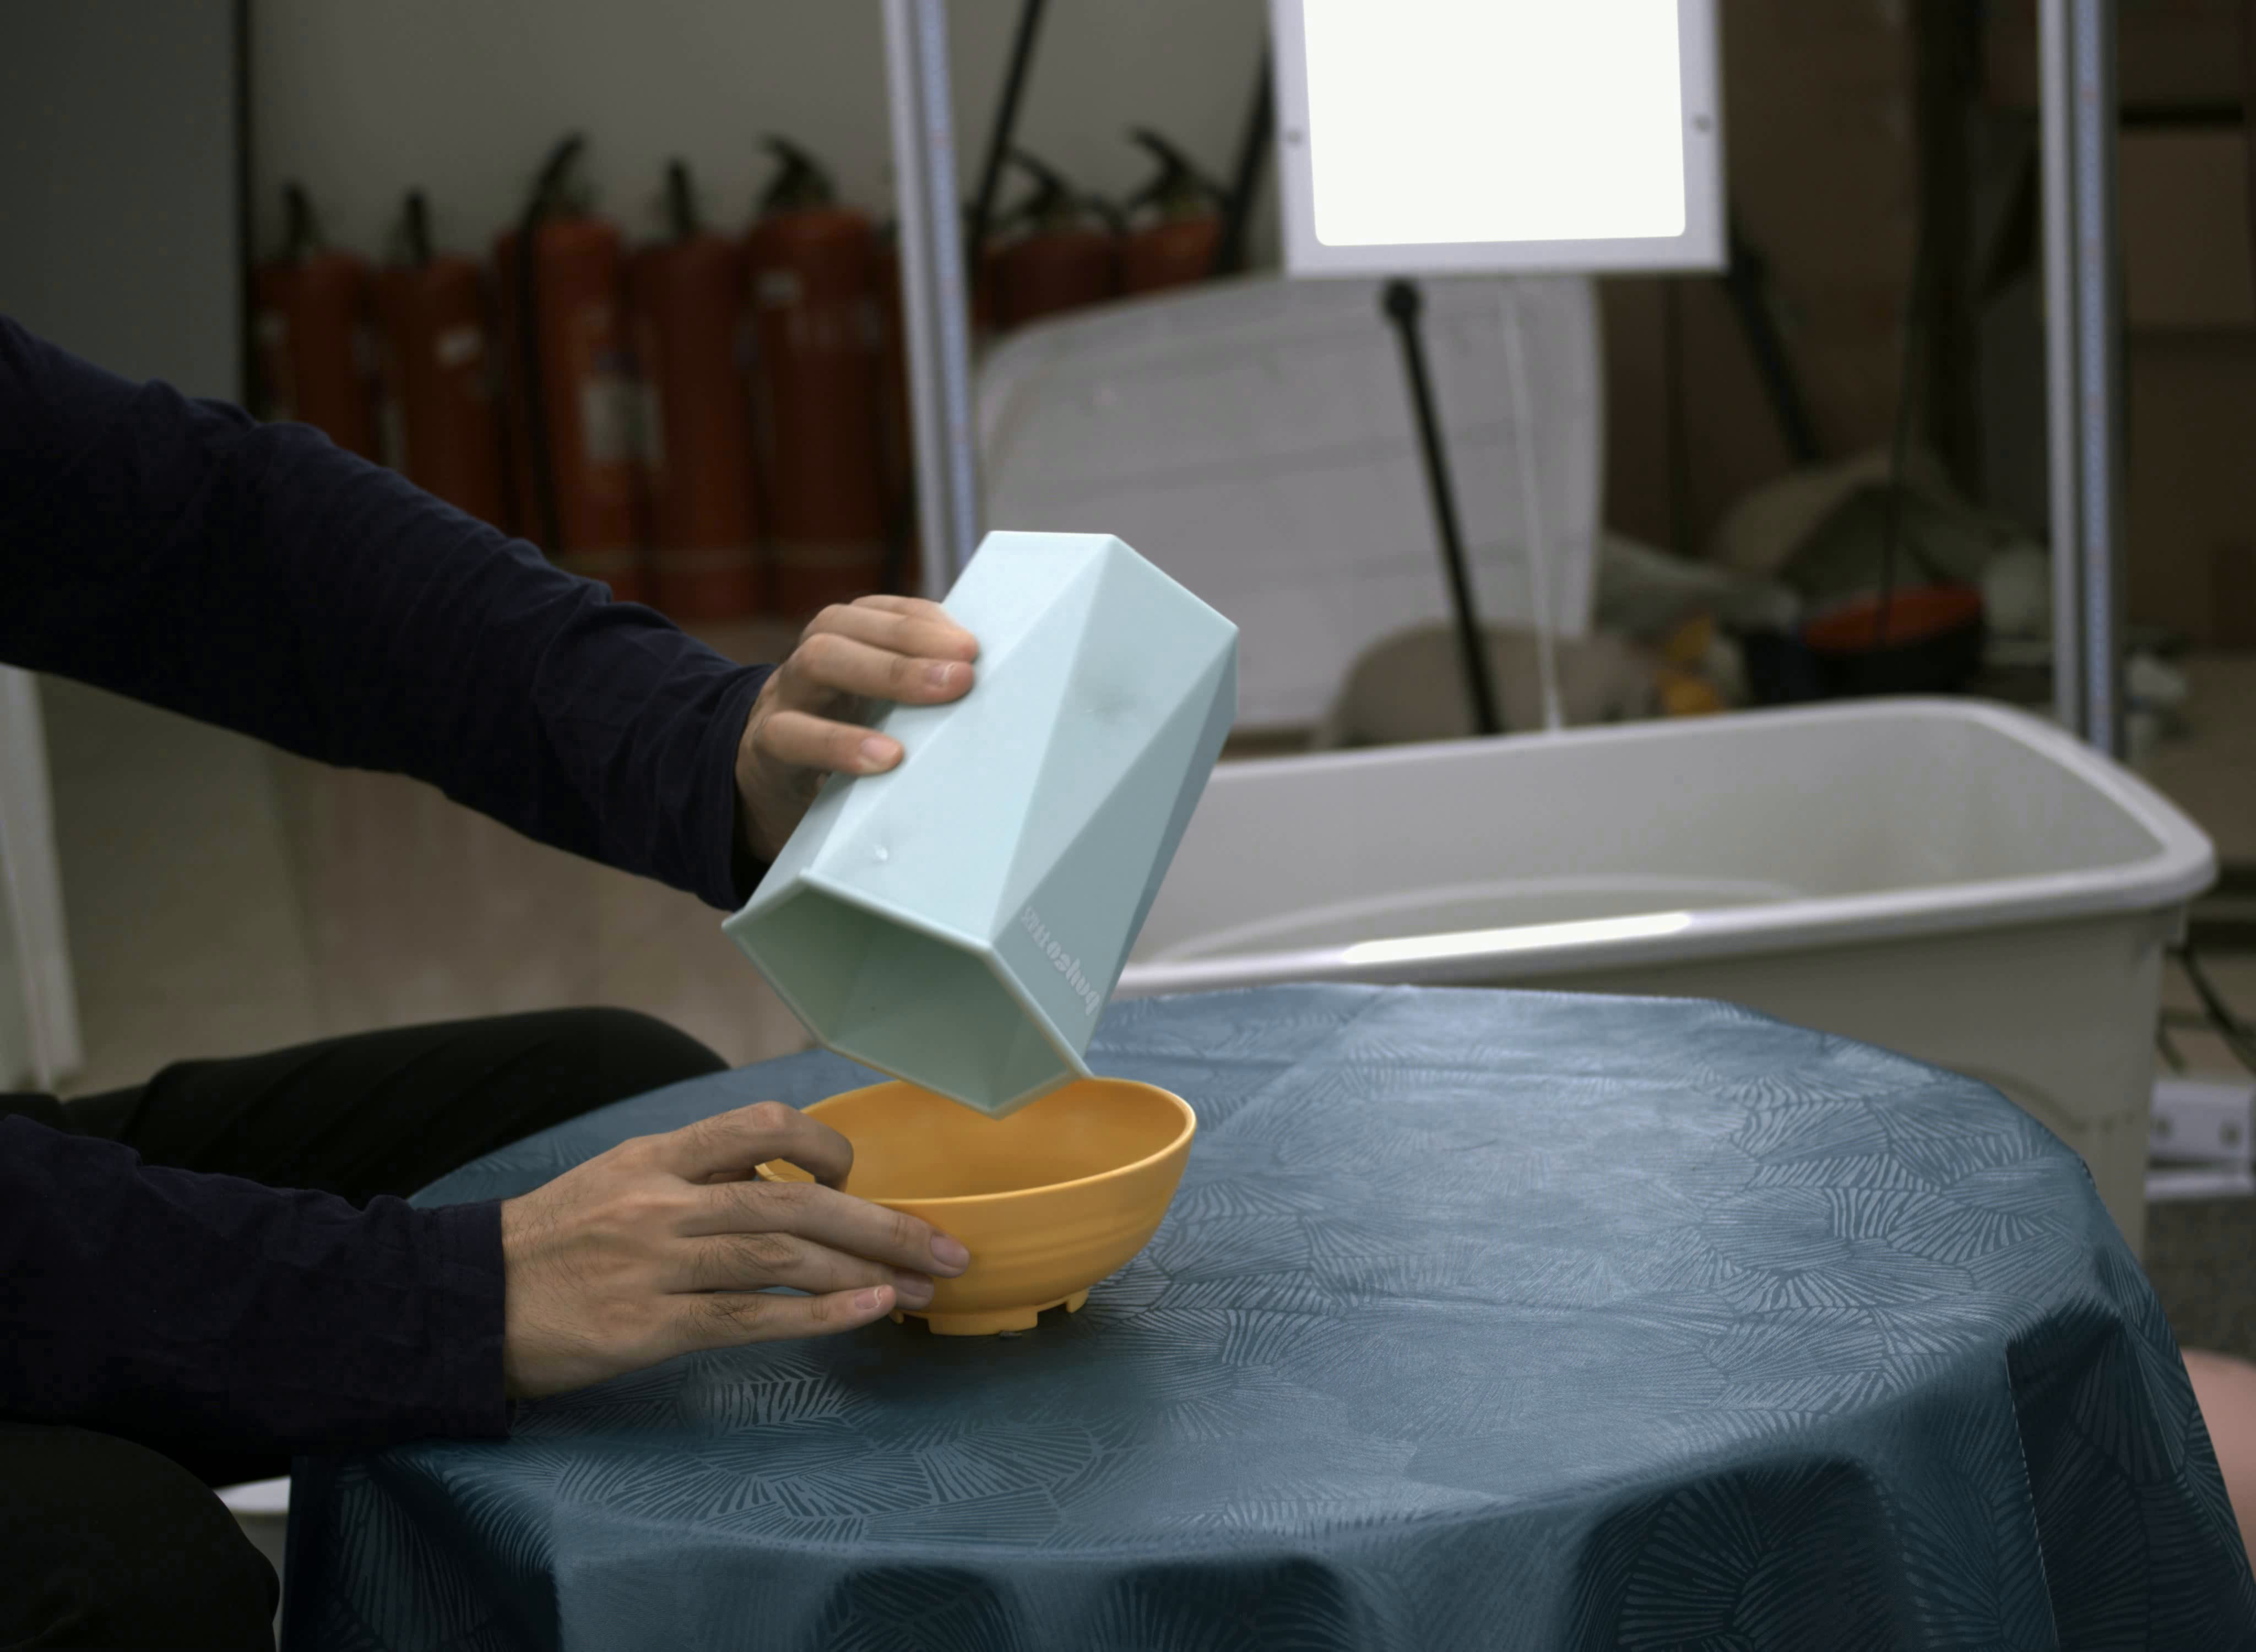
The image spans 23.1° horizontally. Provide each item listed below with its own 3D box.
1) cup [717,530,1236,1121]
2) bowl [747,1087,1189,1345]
[{"bbox_3d":[-0.040,-0.007,1.797,0.118,0.129,0.161,3,54,43],"label":"cup"},{"bbox_3d":[-0.049,0.131,1.789,0.145,0.060,0.145,-7,11,0],"label":"bowl"}]
